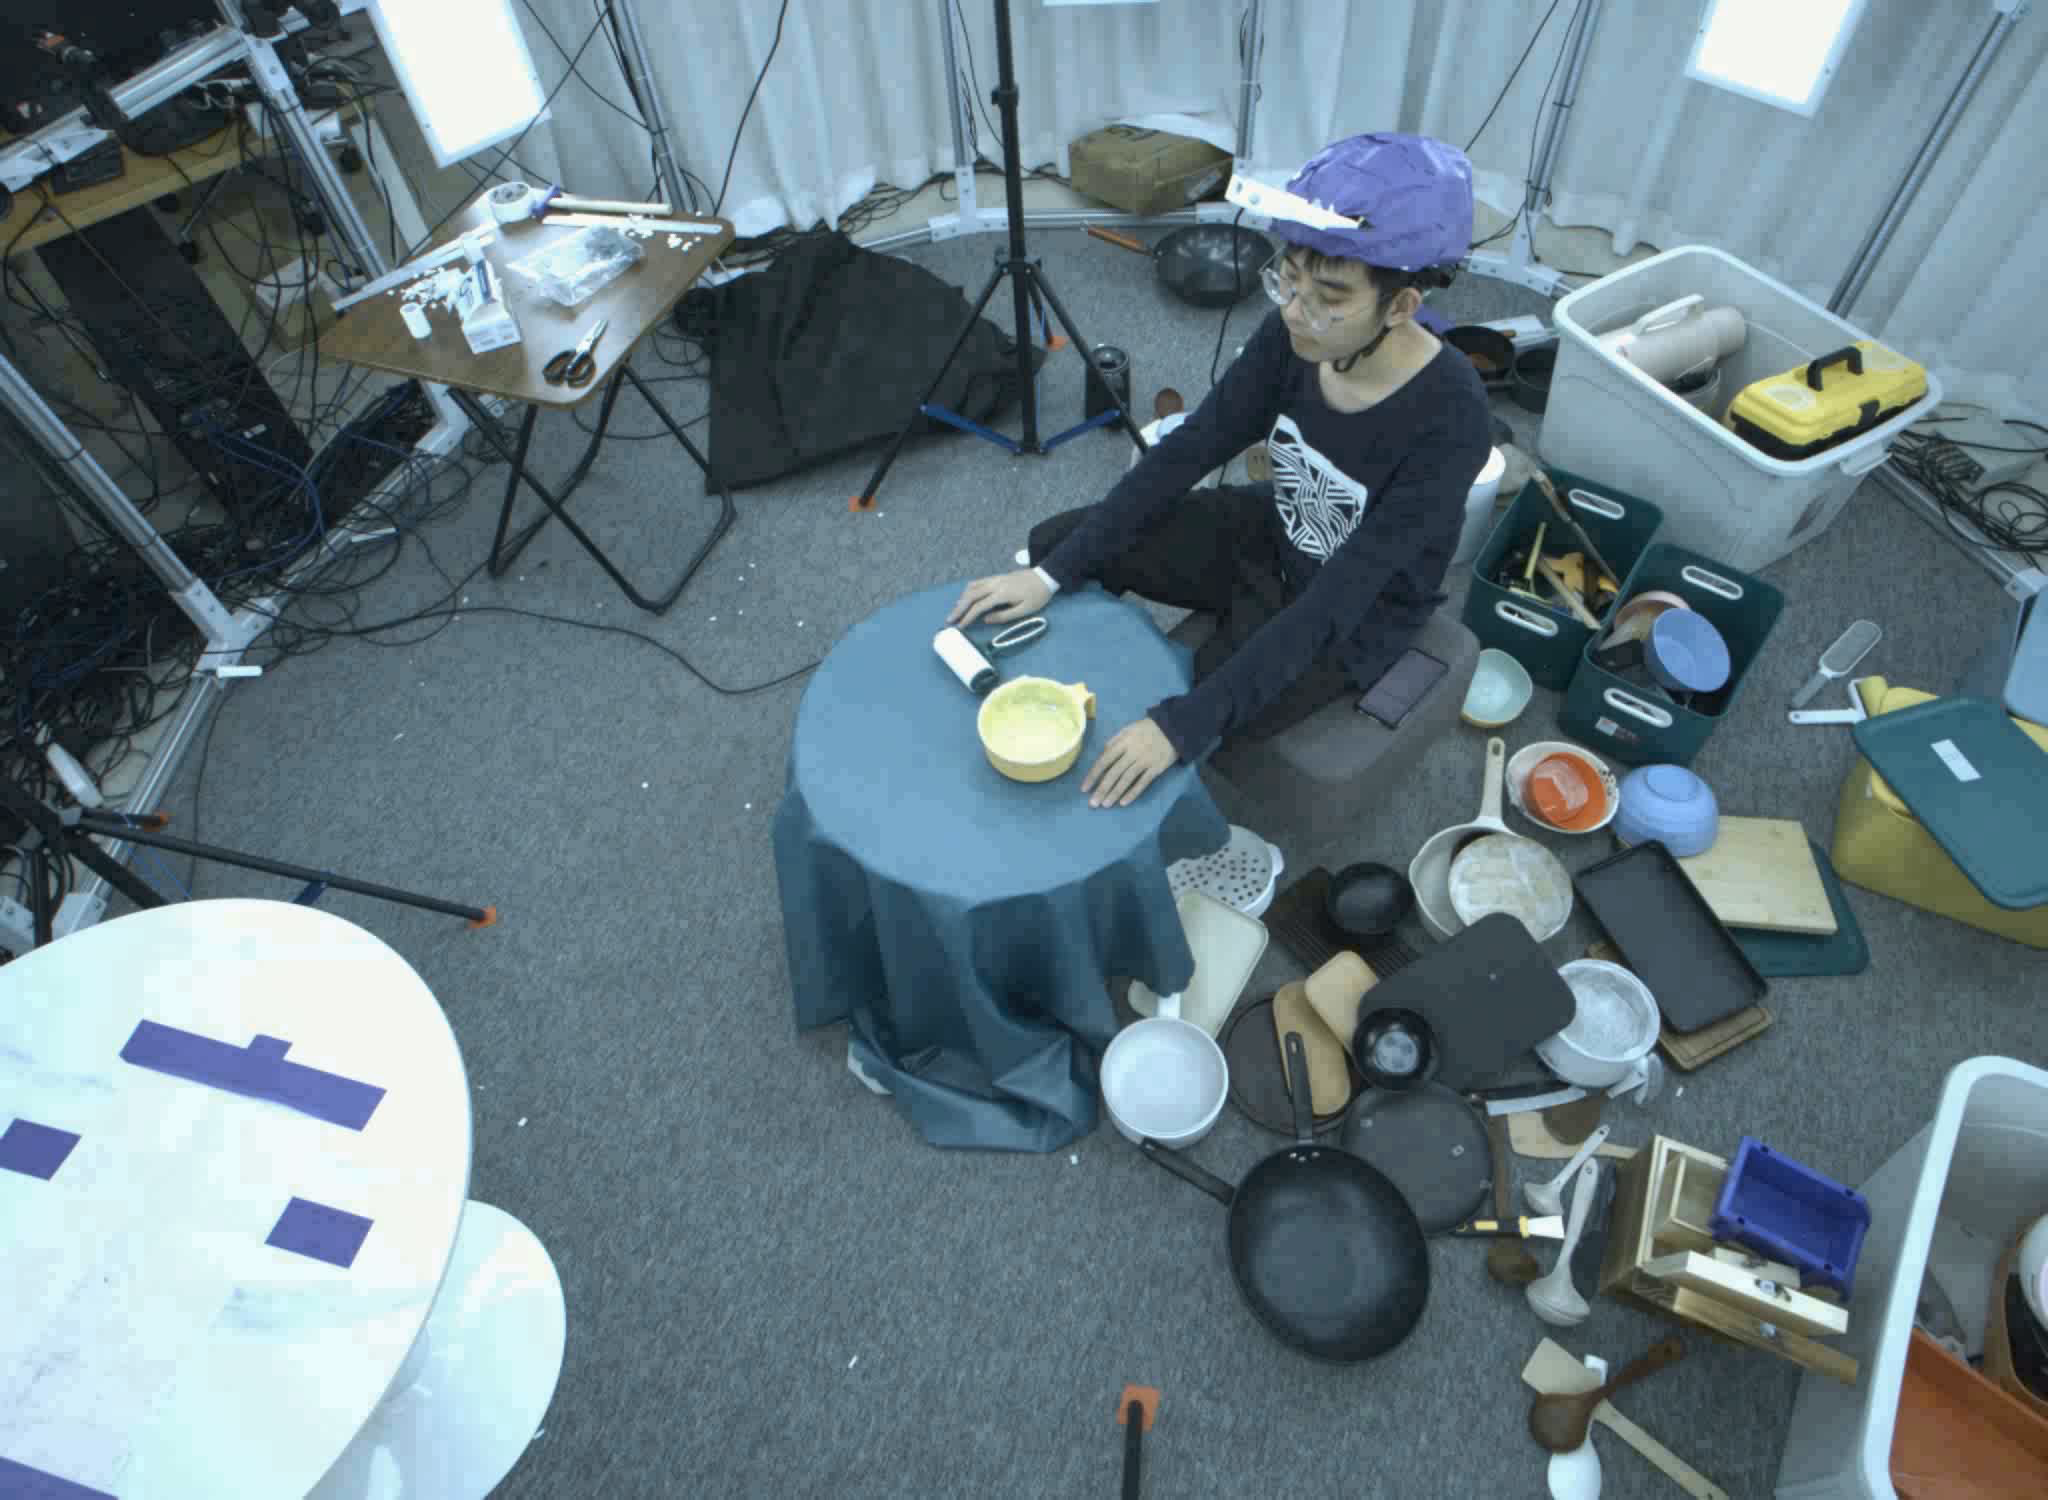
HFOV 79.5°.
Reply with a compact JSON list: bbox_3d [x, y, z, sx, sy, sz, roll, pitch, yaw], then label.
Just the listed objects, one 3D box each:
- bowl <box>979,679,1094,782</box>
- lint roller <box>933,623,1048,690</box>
[{"bbox_3d":[0.025,-0.030,1.776,0.180,0.075,0.150,-37,60,-22],"label":"bowl"},{"bbox_3d":[-0.037,-0.168,1.893,0.182,0.049,0.132,-29,58,-23],"label":"lint roller"}]
